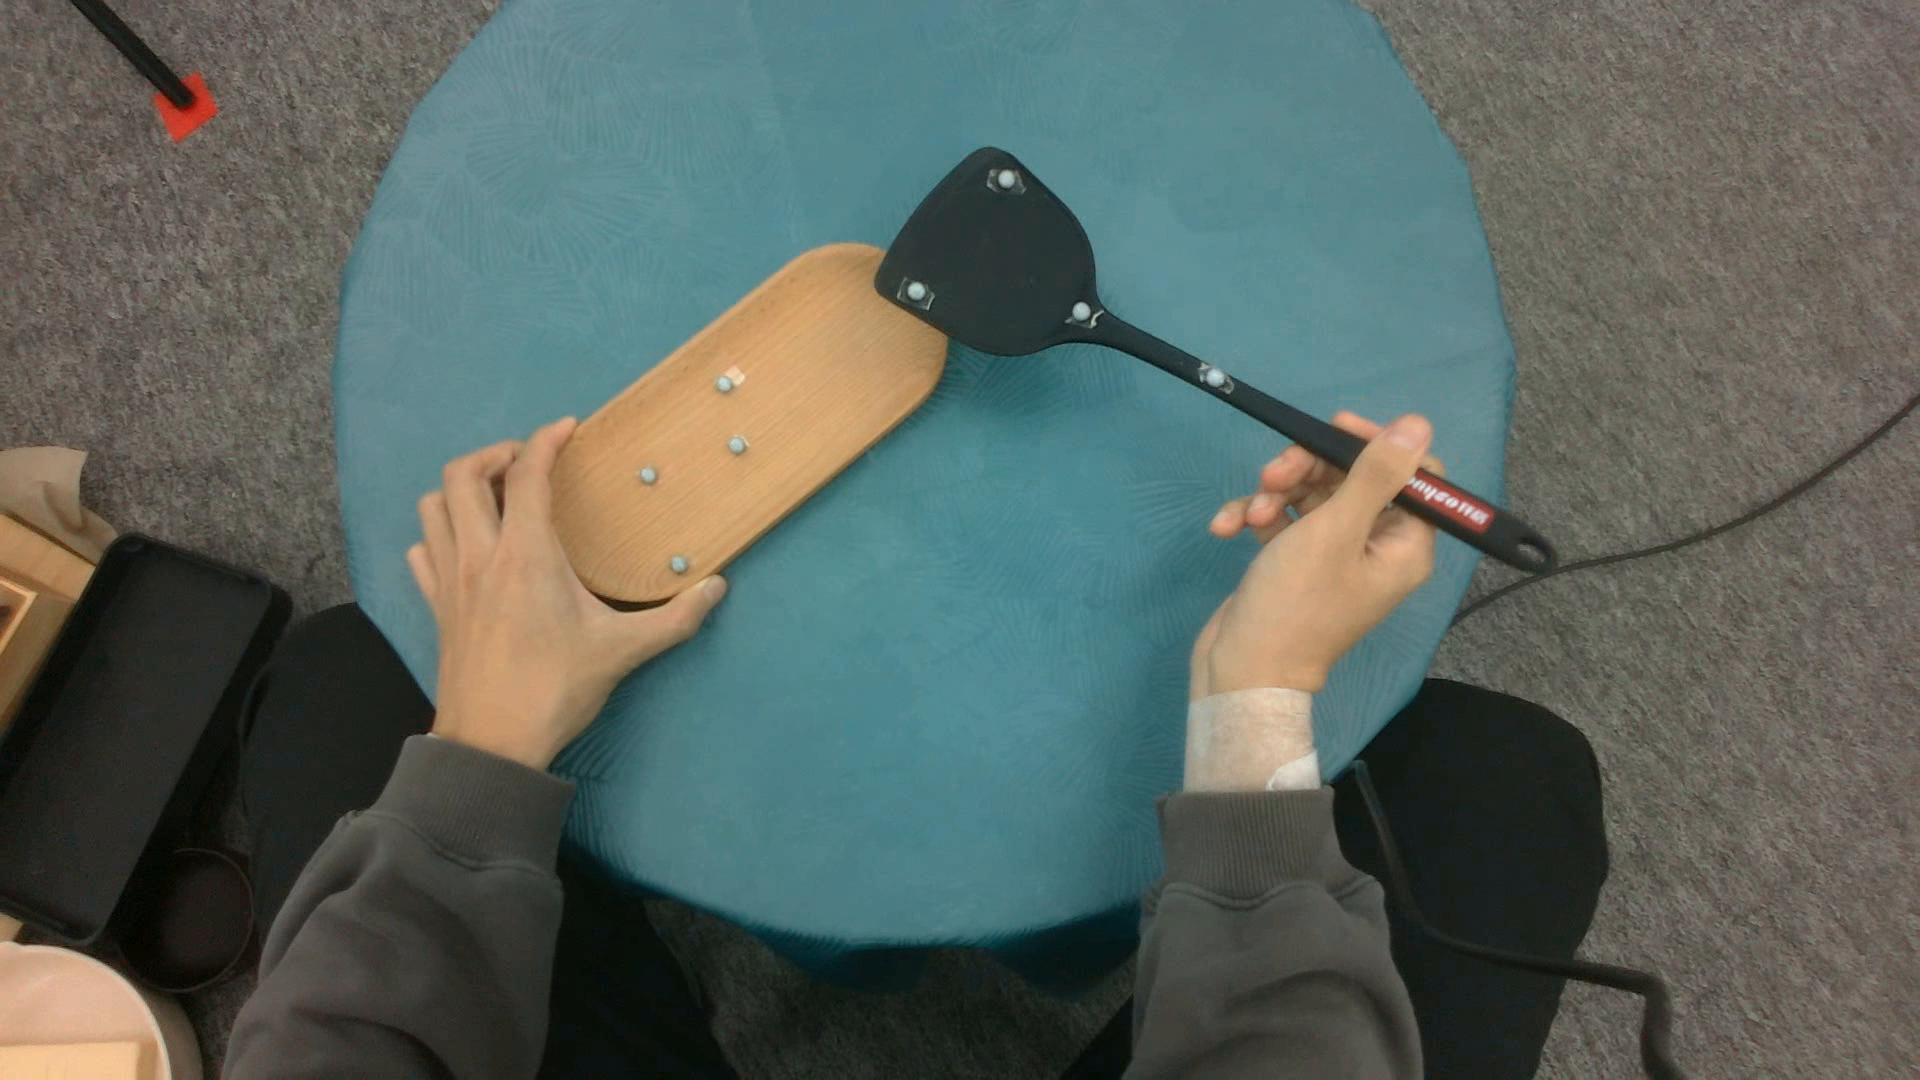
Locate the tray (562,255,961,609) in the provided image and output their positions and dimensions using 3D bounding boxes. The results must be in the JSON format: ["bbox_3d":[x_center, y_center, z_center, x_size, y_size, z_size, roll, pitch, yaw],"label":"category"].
[{"bbox_3d":[-0.100,-0.056,0.705,0.231,0.020,0.102,-40,80,-9],"label":"tray"}]

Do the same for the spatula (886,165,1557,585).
[{"bbox_3d":[0.118,-0.068,0.625,0.326,0.040,0.100,31,76,22],"label":"spatula"}]
